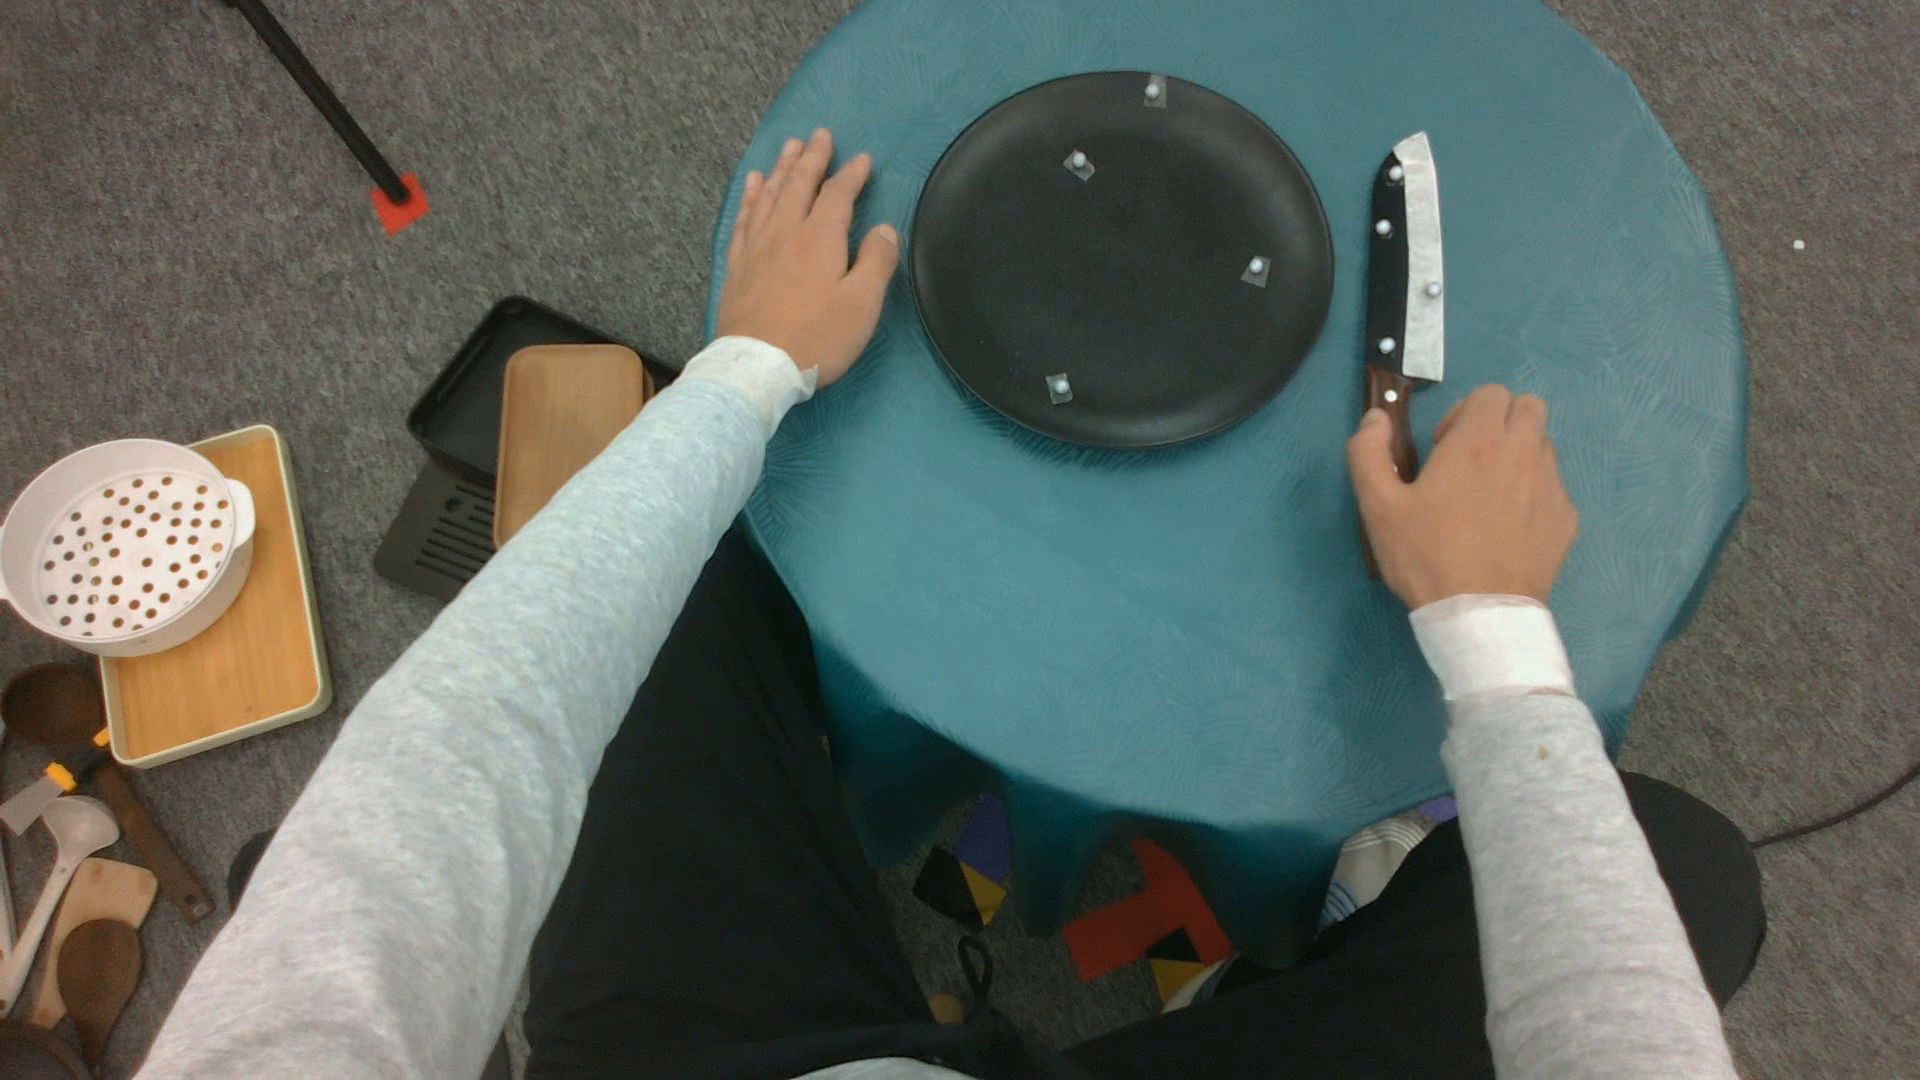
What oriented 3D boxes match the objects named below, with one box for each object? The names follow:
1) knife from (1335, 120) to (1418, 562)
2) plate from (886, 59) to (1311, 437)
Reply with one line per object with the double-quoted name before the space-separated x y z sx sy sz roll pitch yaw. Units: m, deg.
"knife" 0.238 -0.122 0.788 0.050 0.020 0.290 10 70 -3
"plate" 0.079 -0.169 0.796 0.244 0.023 0.245 0 72 -1
